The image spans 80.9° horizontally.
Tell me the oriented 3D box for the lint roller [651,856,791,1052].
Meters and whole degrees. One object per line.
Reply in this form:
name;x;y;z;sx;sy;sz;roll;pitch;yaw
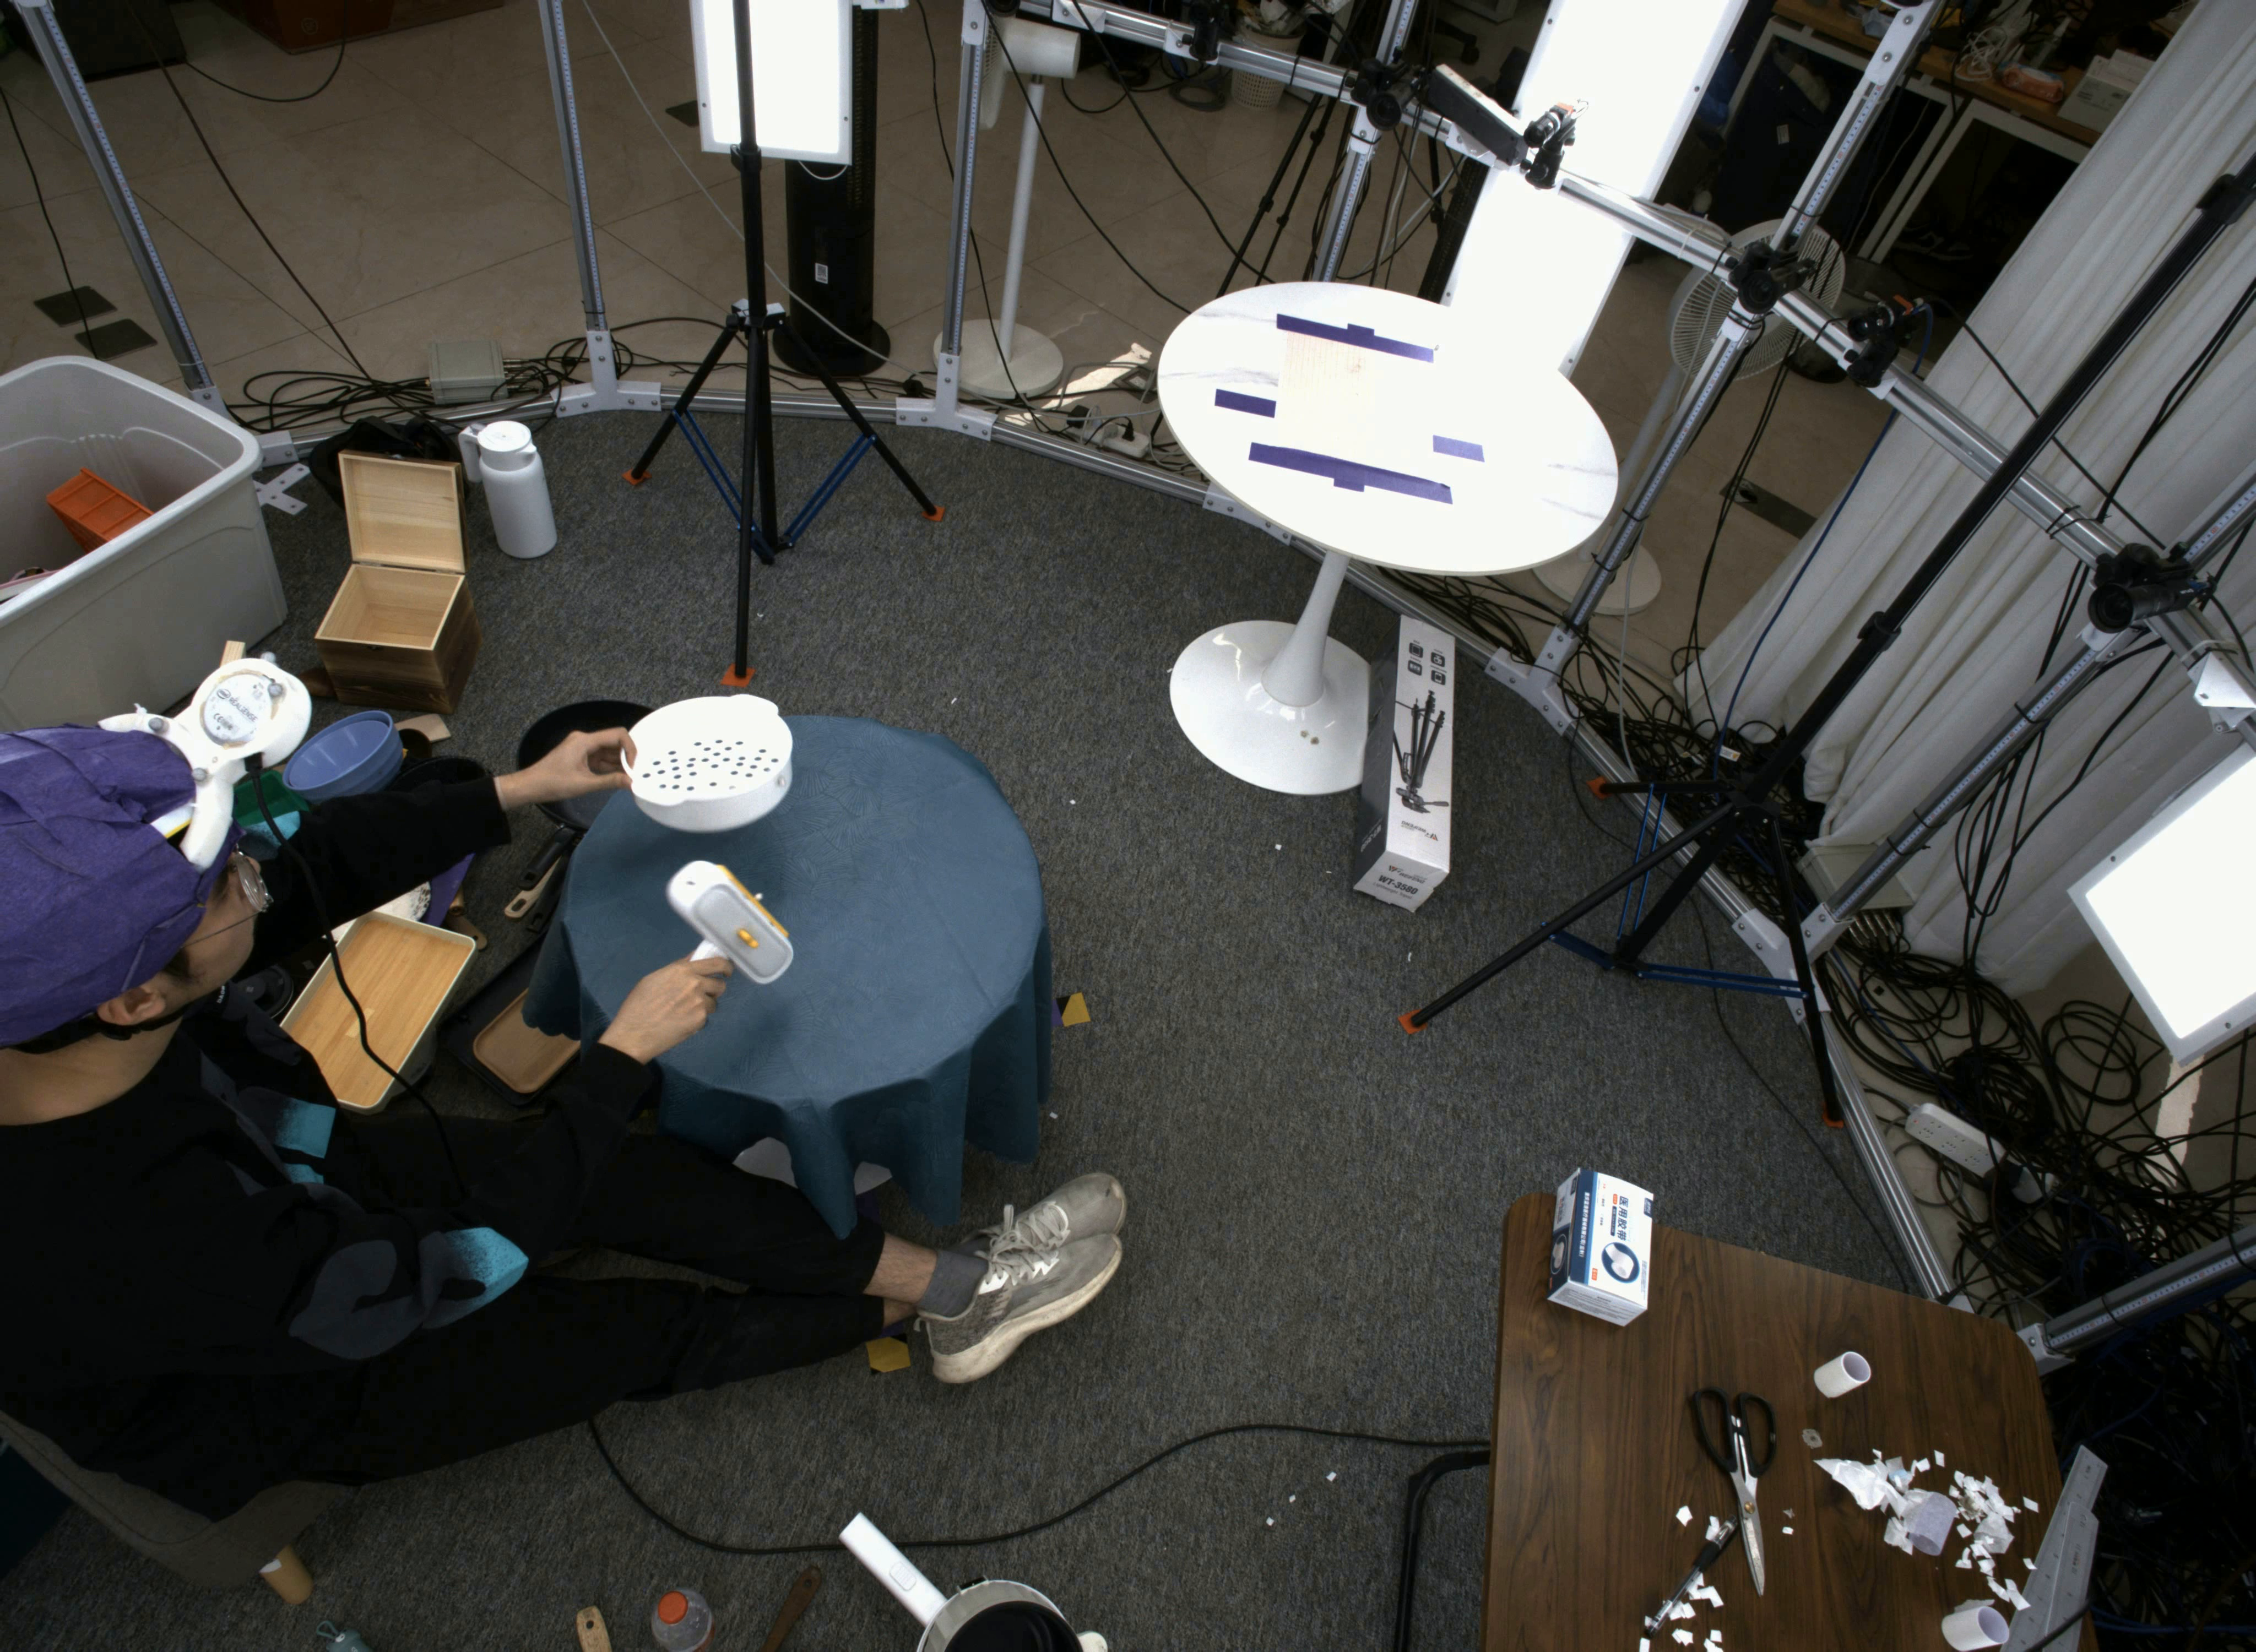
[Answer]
lint roller;-0.476;0.155;1.429;0.071;0.200;0.192;21;69;32

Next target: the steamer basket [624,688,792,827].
steamer basket;-0.511;-0.082;1.577;0.197;0.071;0.229;16;43;14
